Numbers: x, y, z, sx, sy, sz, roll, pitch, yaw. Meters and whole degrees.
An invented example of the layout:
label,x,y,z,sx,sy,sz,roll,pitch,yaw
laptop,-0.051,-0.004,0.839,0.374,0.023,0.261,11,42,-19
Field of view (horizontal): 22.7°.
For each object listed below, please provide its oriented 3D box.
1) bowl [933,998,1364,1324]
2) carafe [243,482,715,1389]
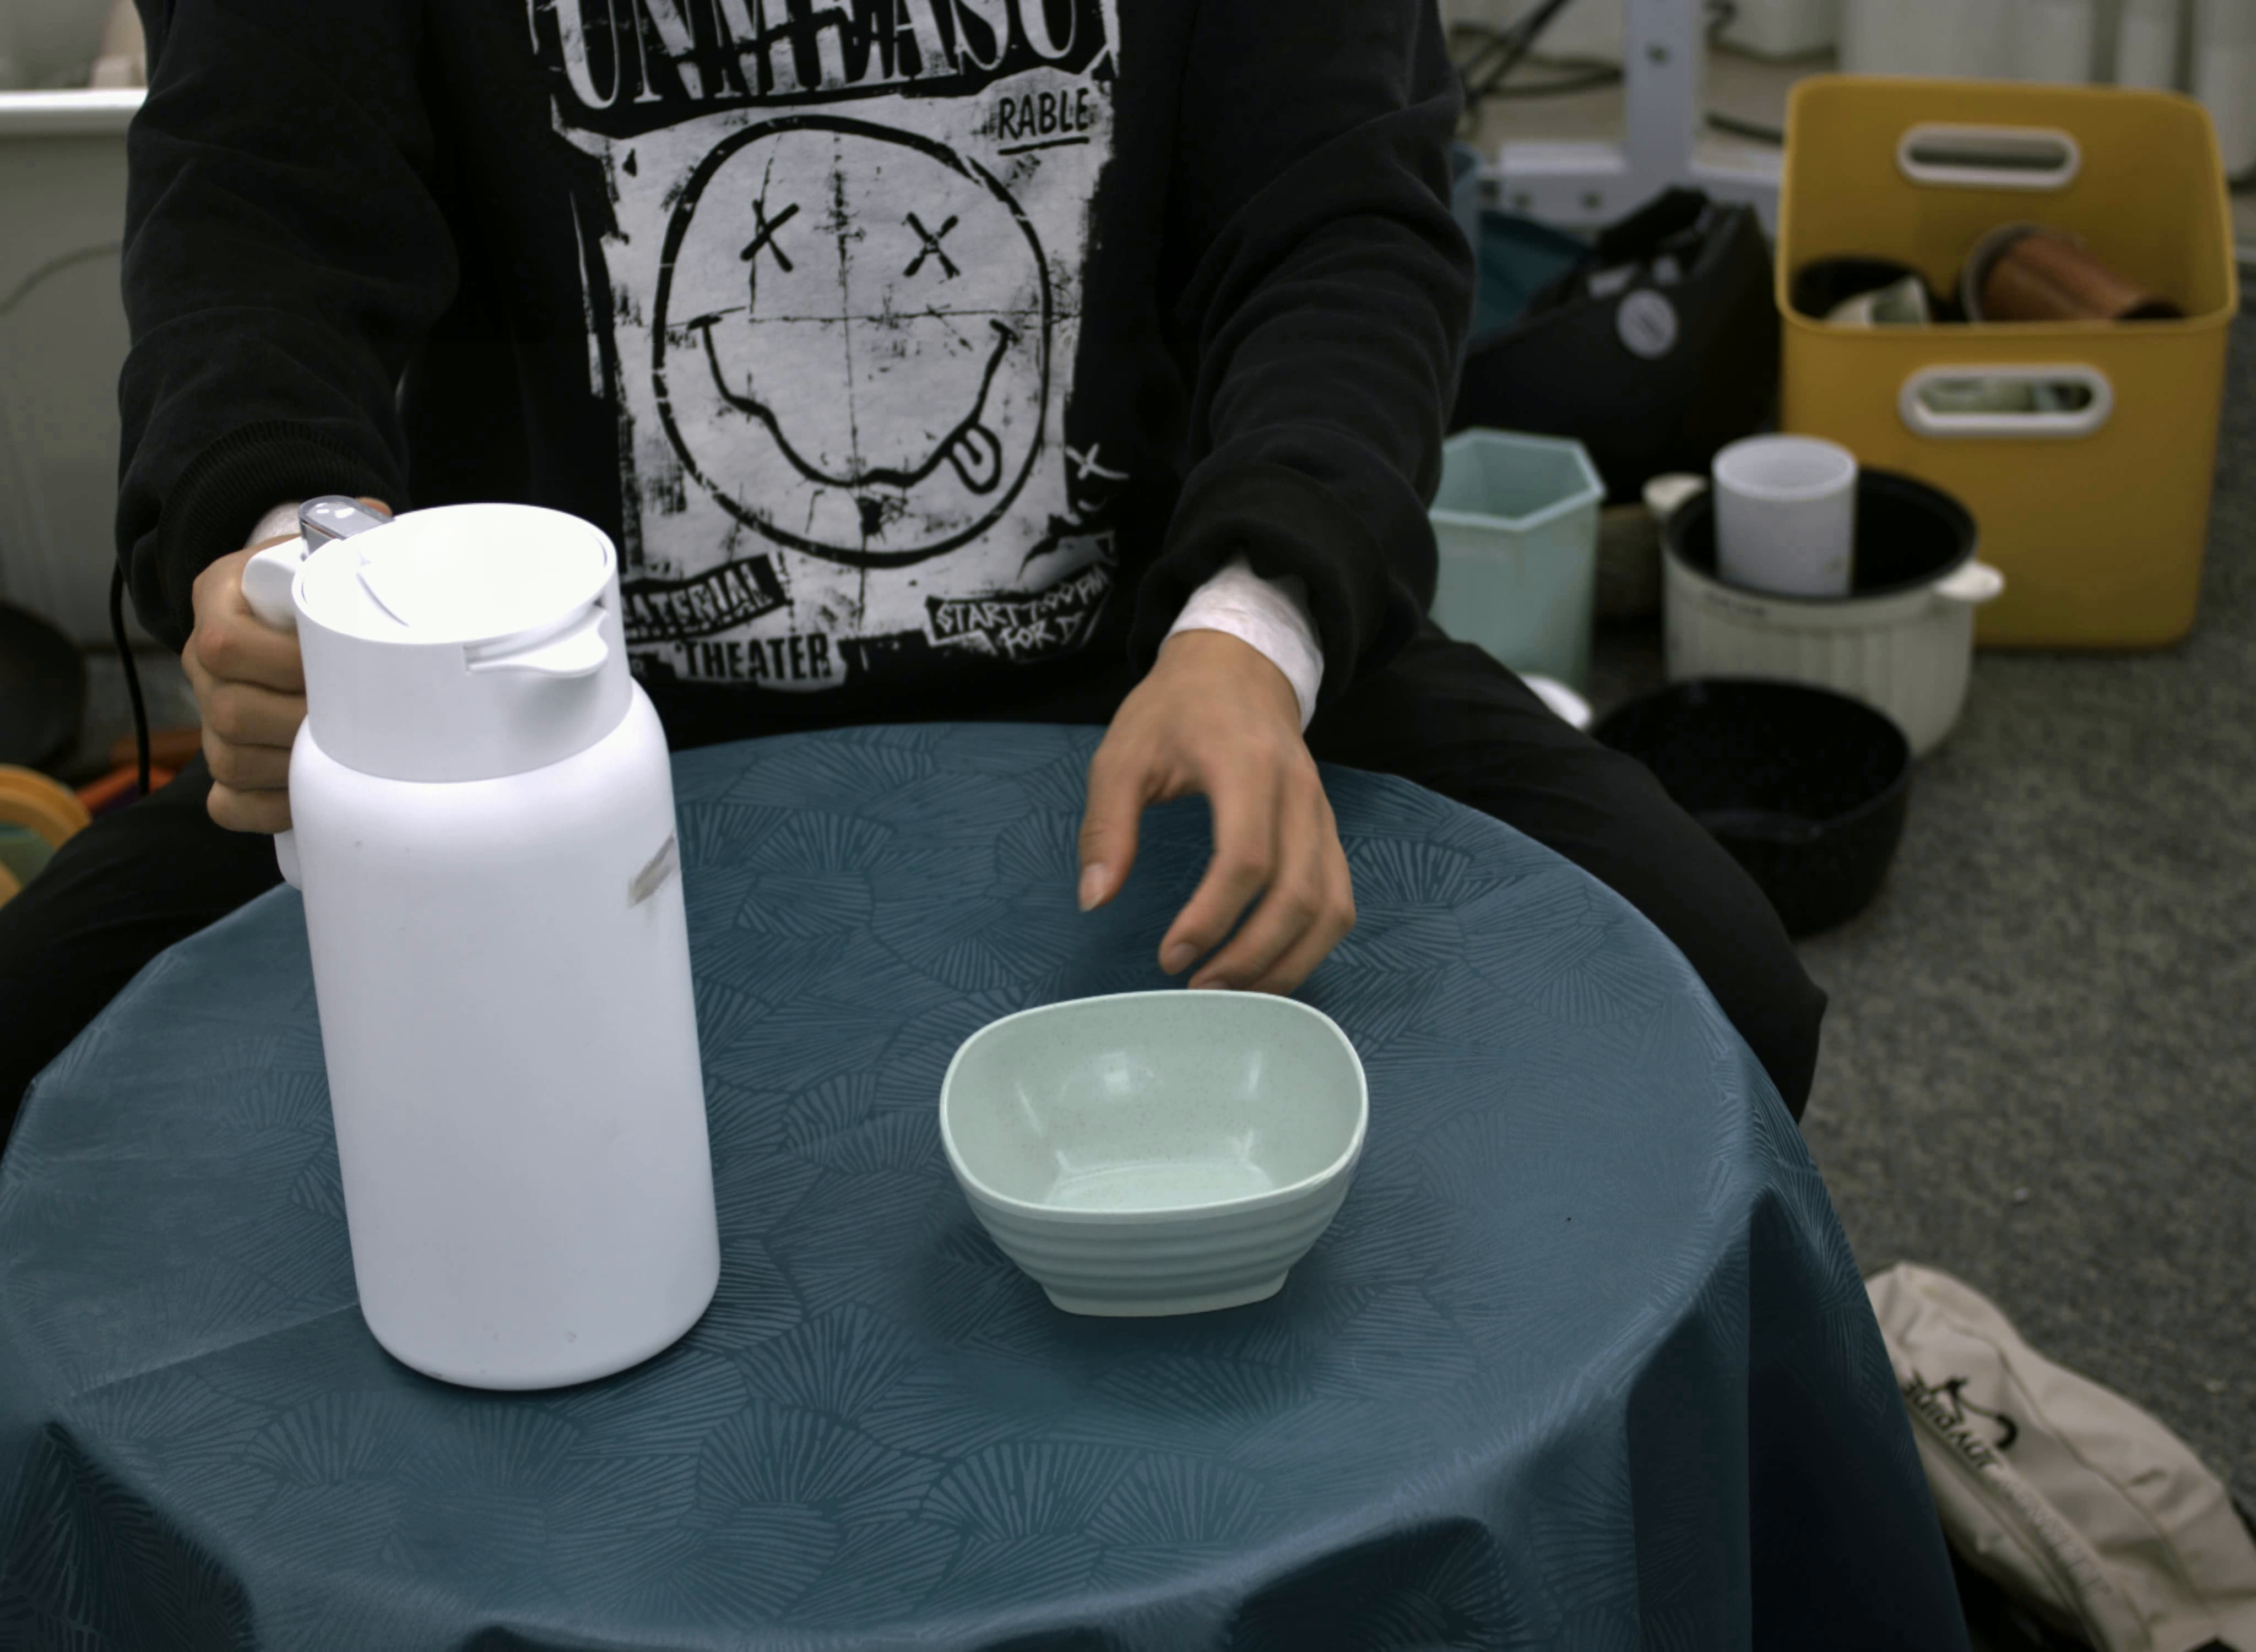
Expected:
label,x,y,z,sx,sy,sz,roll,pitch,yaw
bowl,0.008,0.114,1.816,0.151,0.058,0.154,-2,26,1
carafe,-0.209,0.032,1.766,0.125,0.266,0.172,-27,35,-36
